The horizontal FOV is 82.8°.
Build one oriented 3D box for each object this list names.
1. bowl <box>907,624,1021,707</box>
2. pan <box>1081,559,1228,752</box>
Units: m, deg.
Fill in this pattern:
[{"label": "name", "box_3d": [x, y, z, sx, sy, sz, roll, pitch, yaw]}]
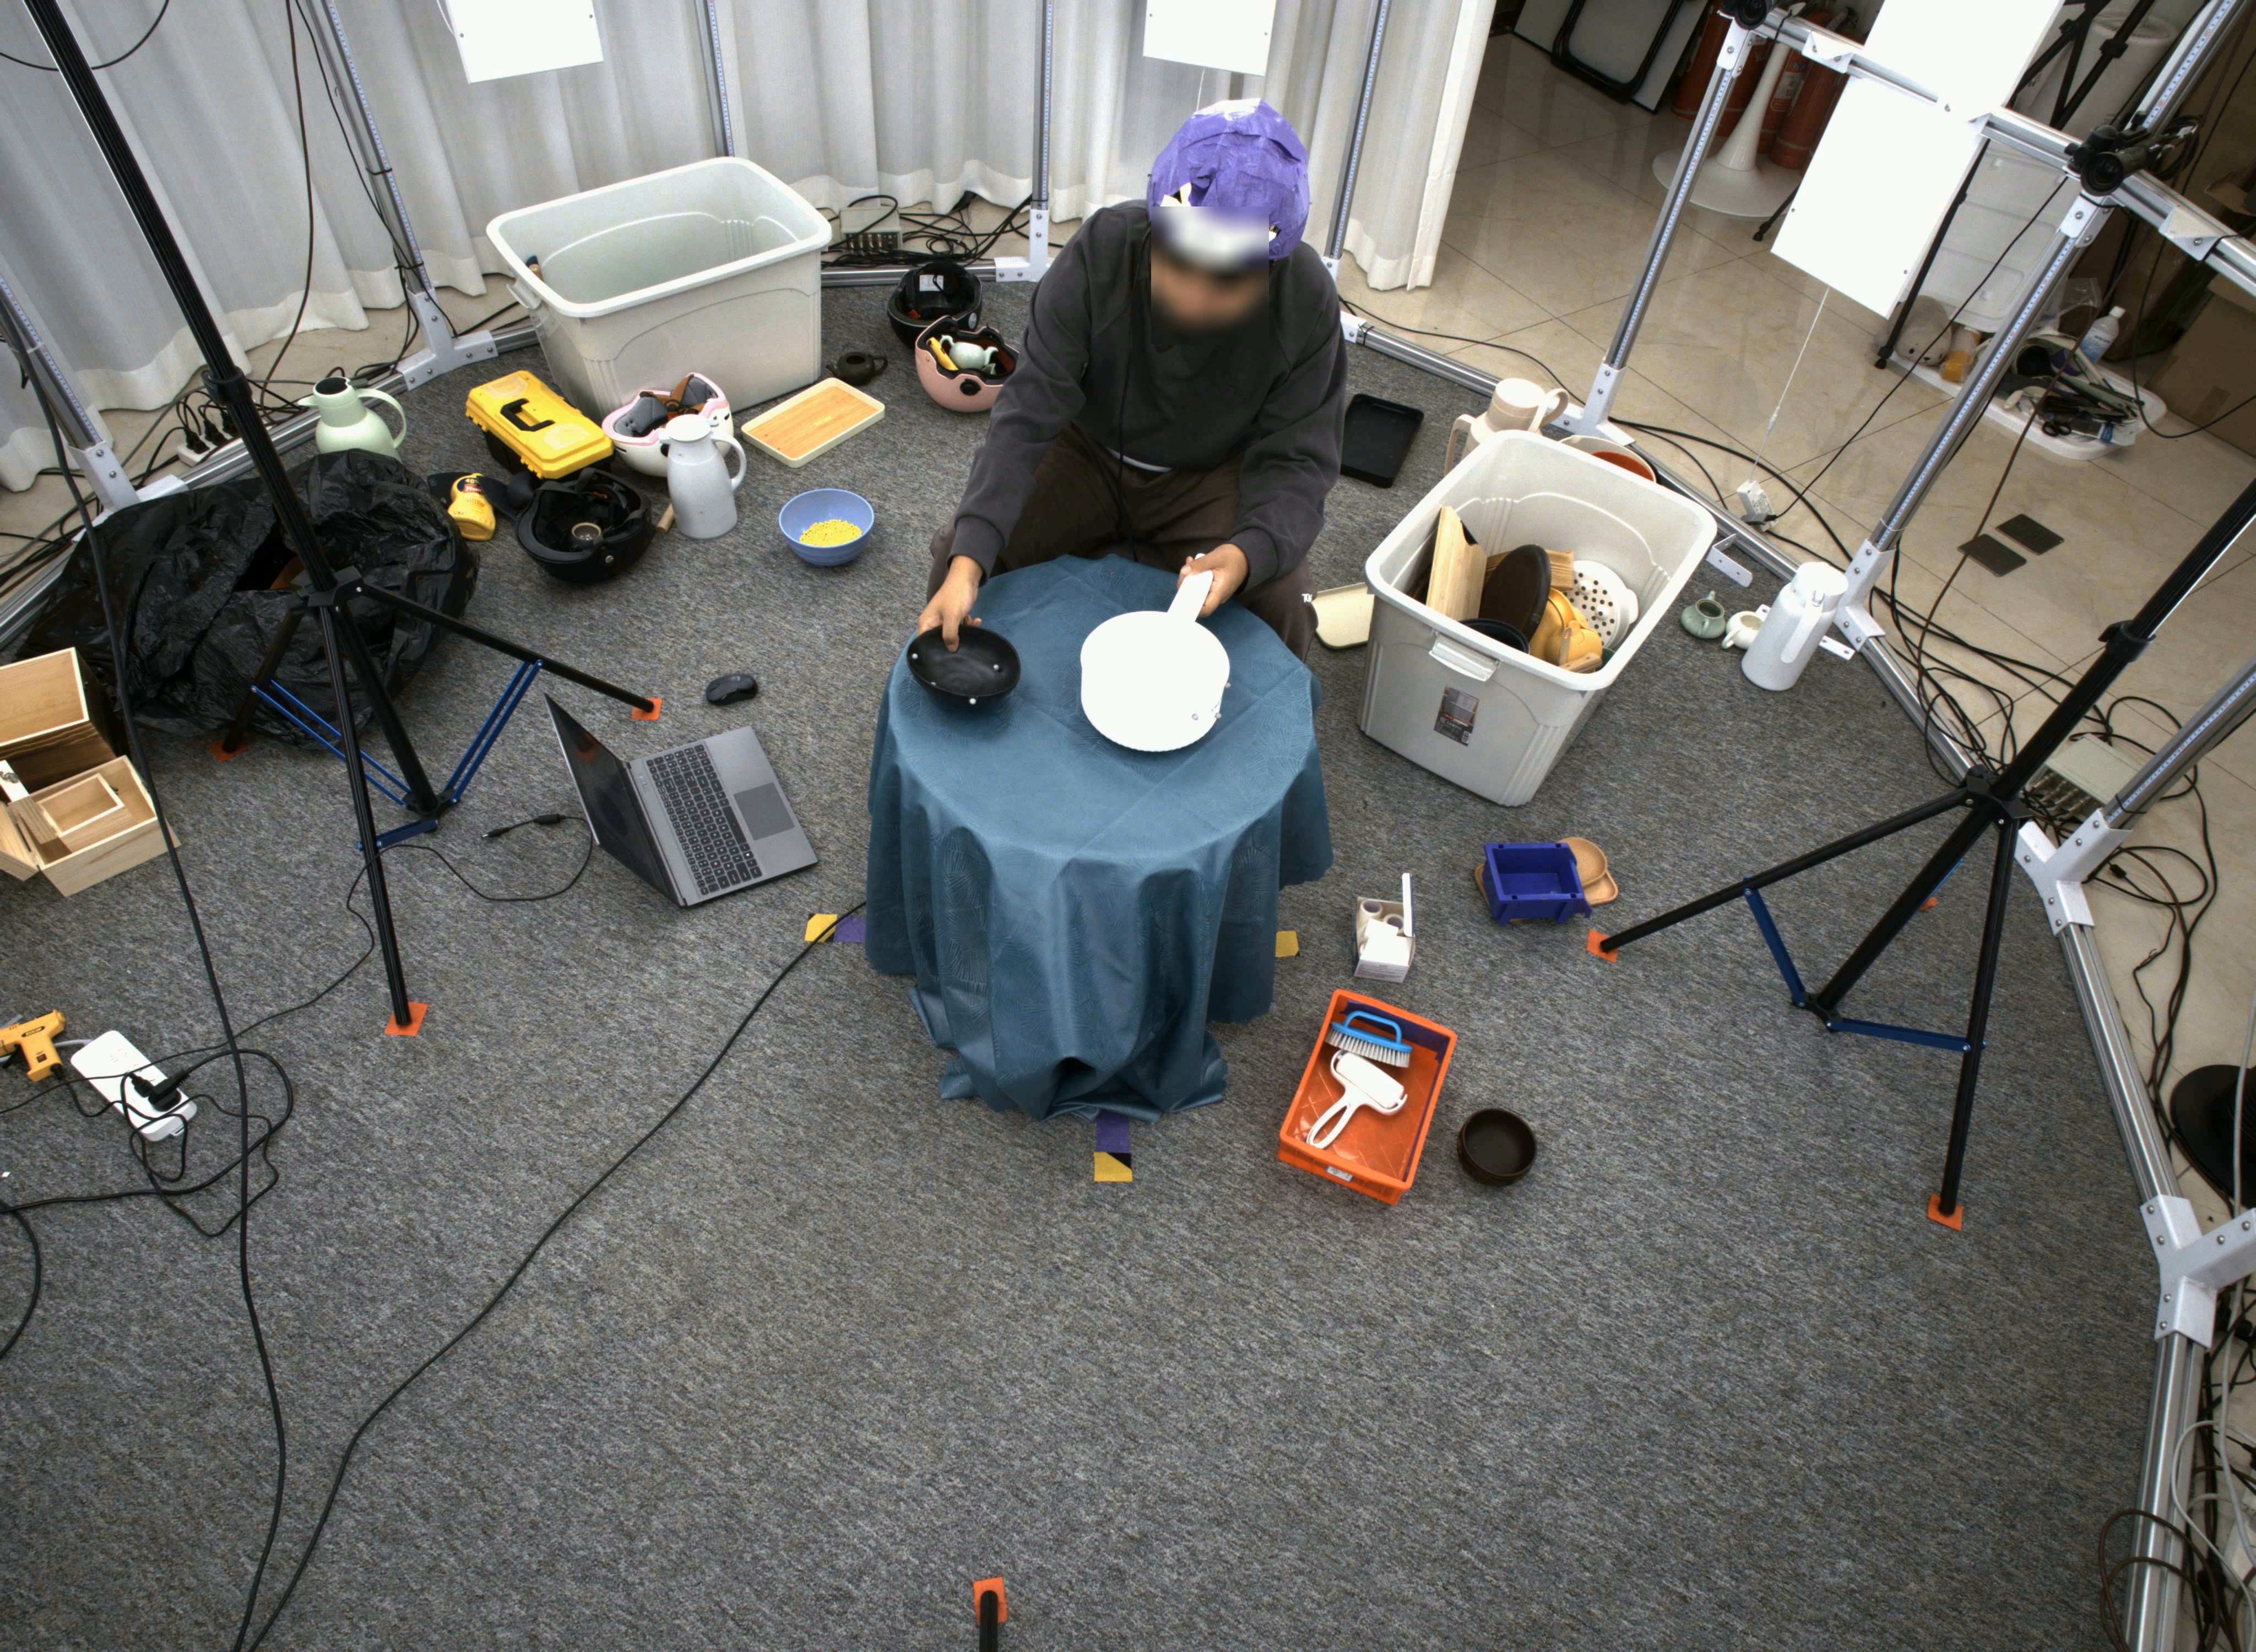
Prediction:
[{"label": "bowl", "box_3d": [-0.228, -0.212, 1.790, 0.172, 0.065, 0.139, 26, 52, 18]}, {"label": "pan", "box_3d": [0.059, -0.244, 1.825, 0.202, 0.099, 0.362, 15, 46, 11]}]
